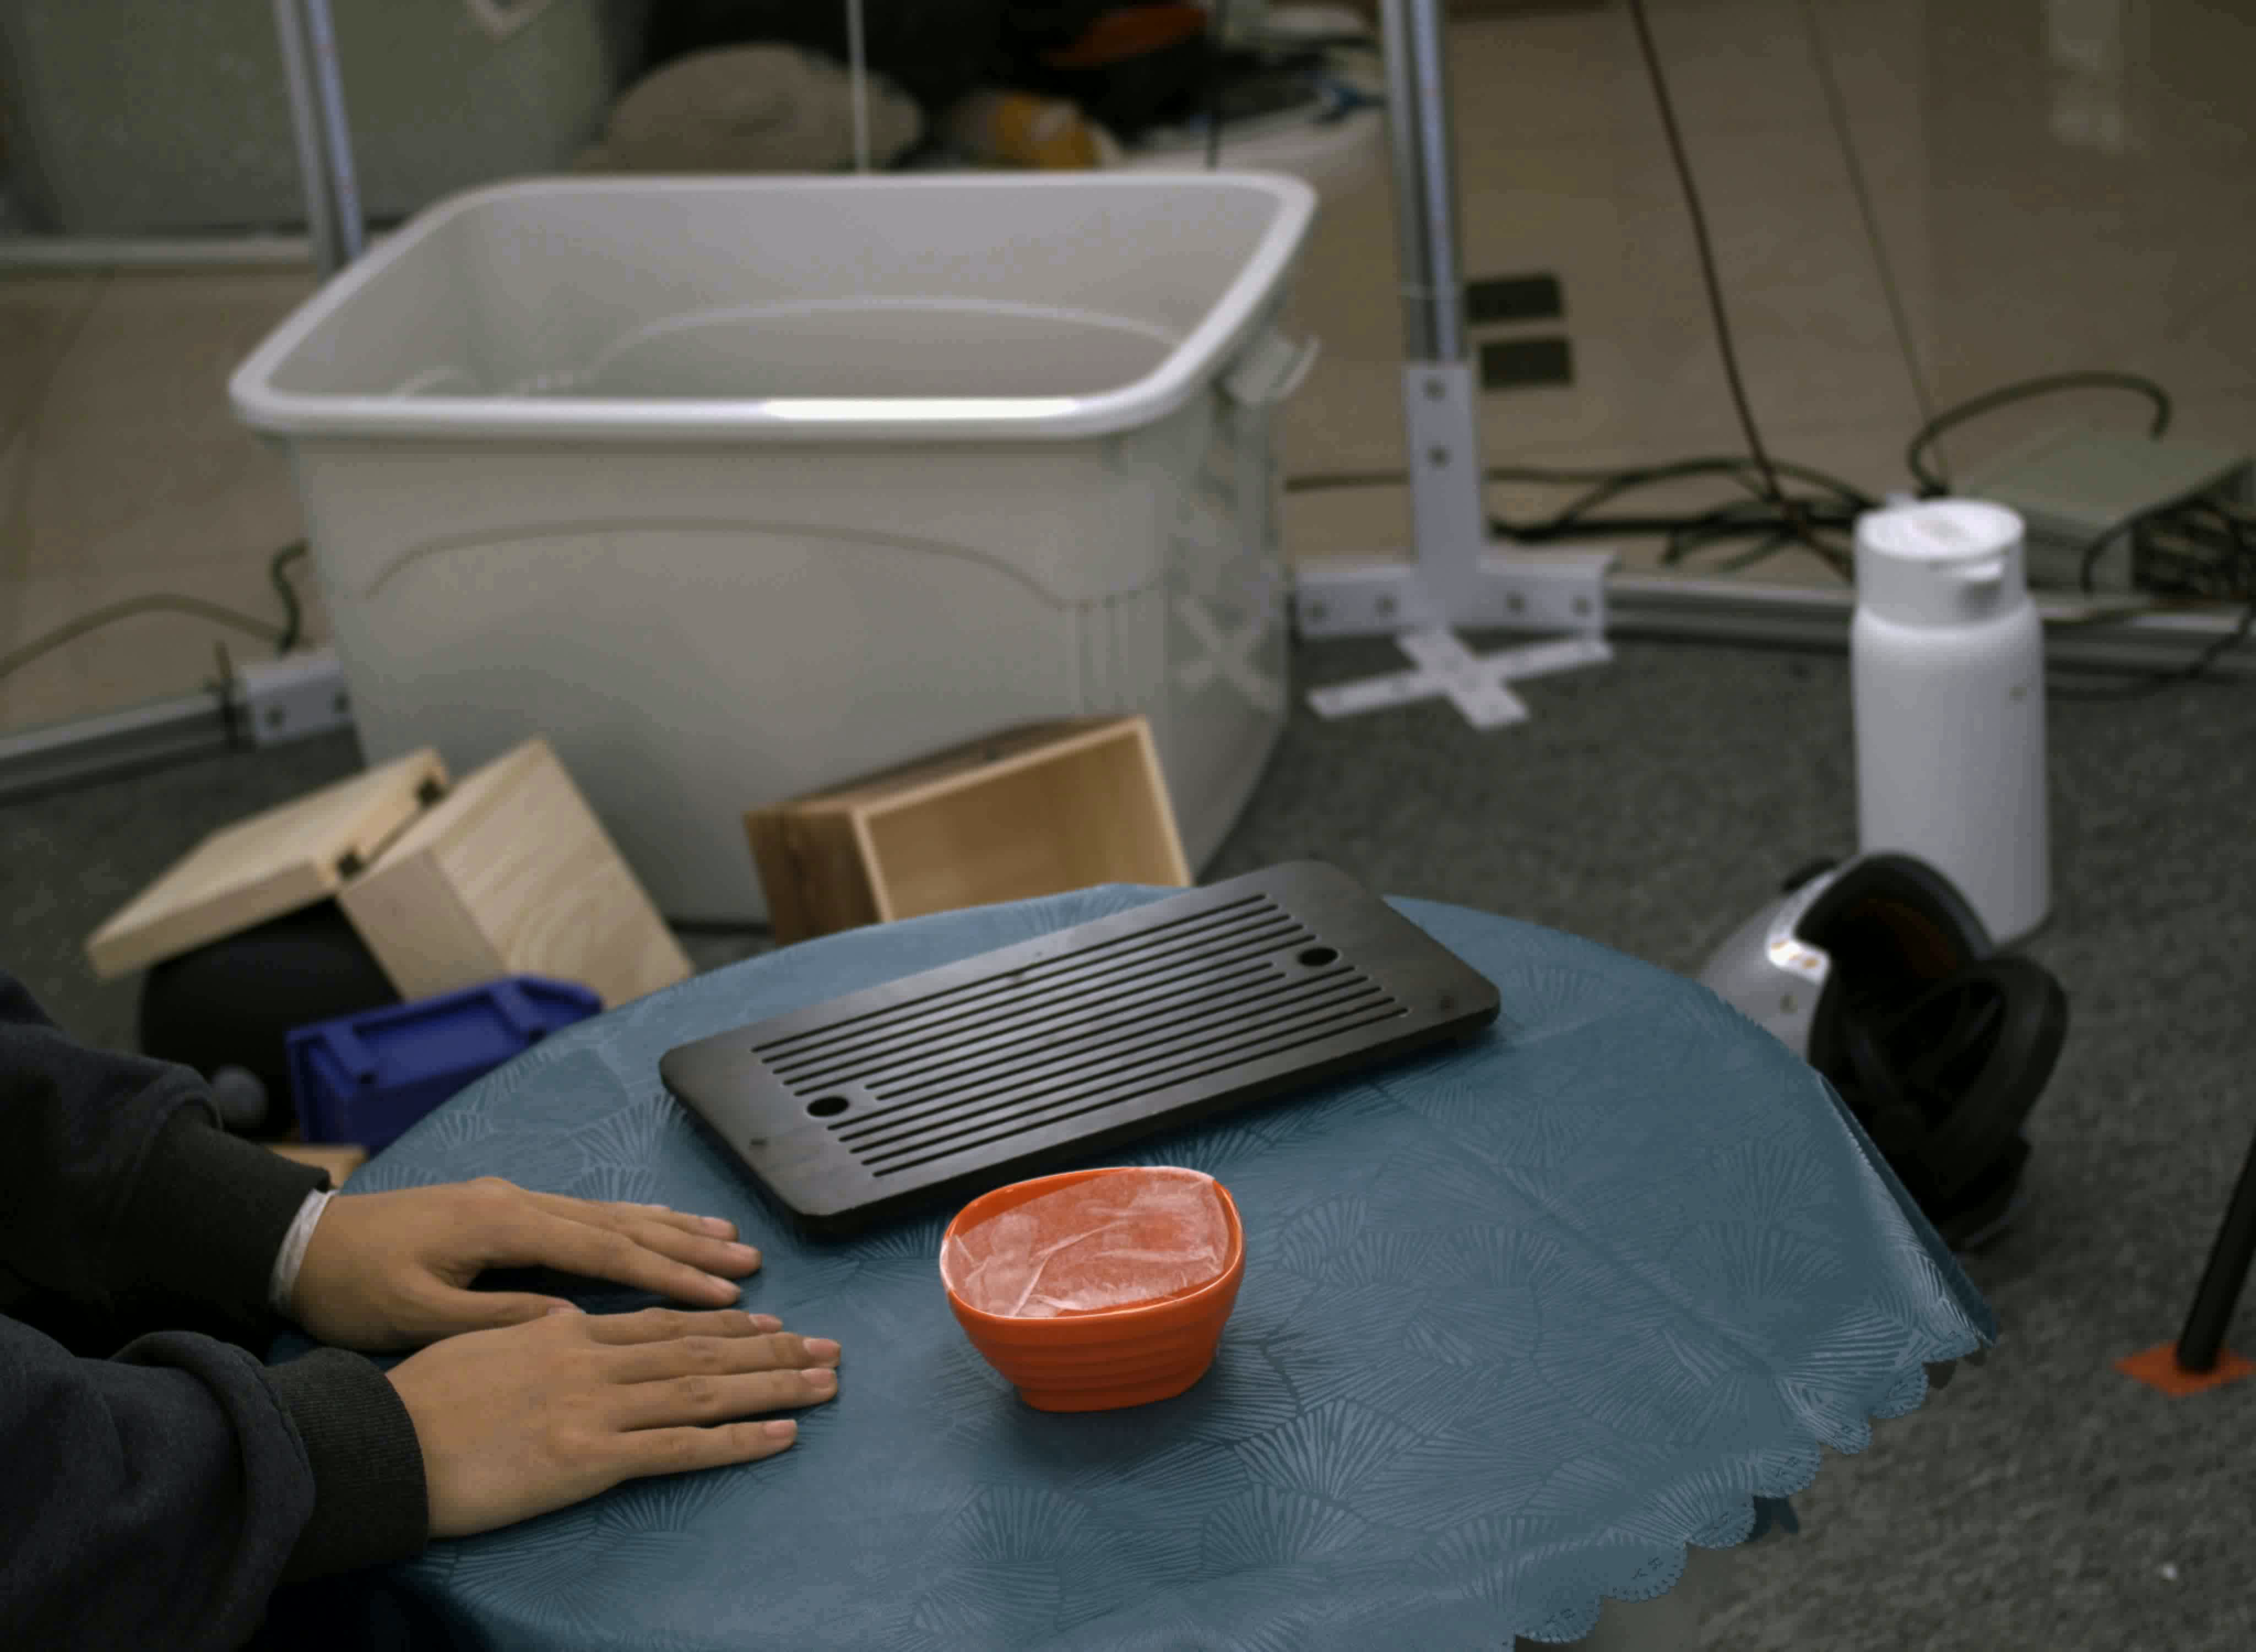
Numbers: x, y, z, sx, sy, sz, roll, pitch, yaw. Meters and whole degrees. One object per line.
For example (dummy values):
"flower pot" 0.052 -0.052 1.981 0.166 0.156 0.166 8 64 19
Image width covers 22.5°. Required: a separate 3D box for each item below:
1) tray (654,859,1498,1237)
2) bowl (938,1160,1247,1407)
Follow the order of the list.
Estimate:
"tray" -0.021 0.086 2.244 0.304 0.019 0.168 -17 27 -20
"bowl" -0.011 0.168 2.022 0.119 0.052 0.117 -4 26 2
